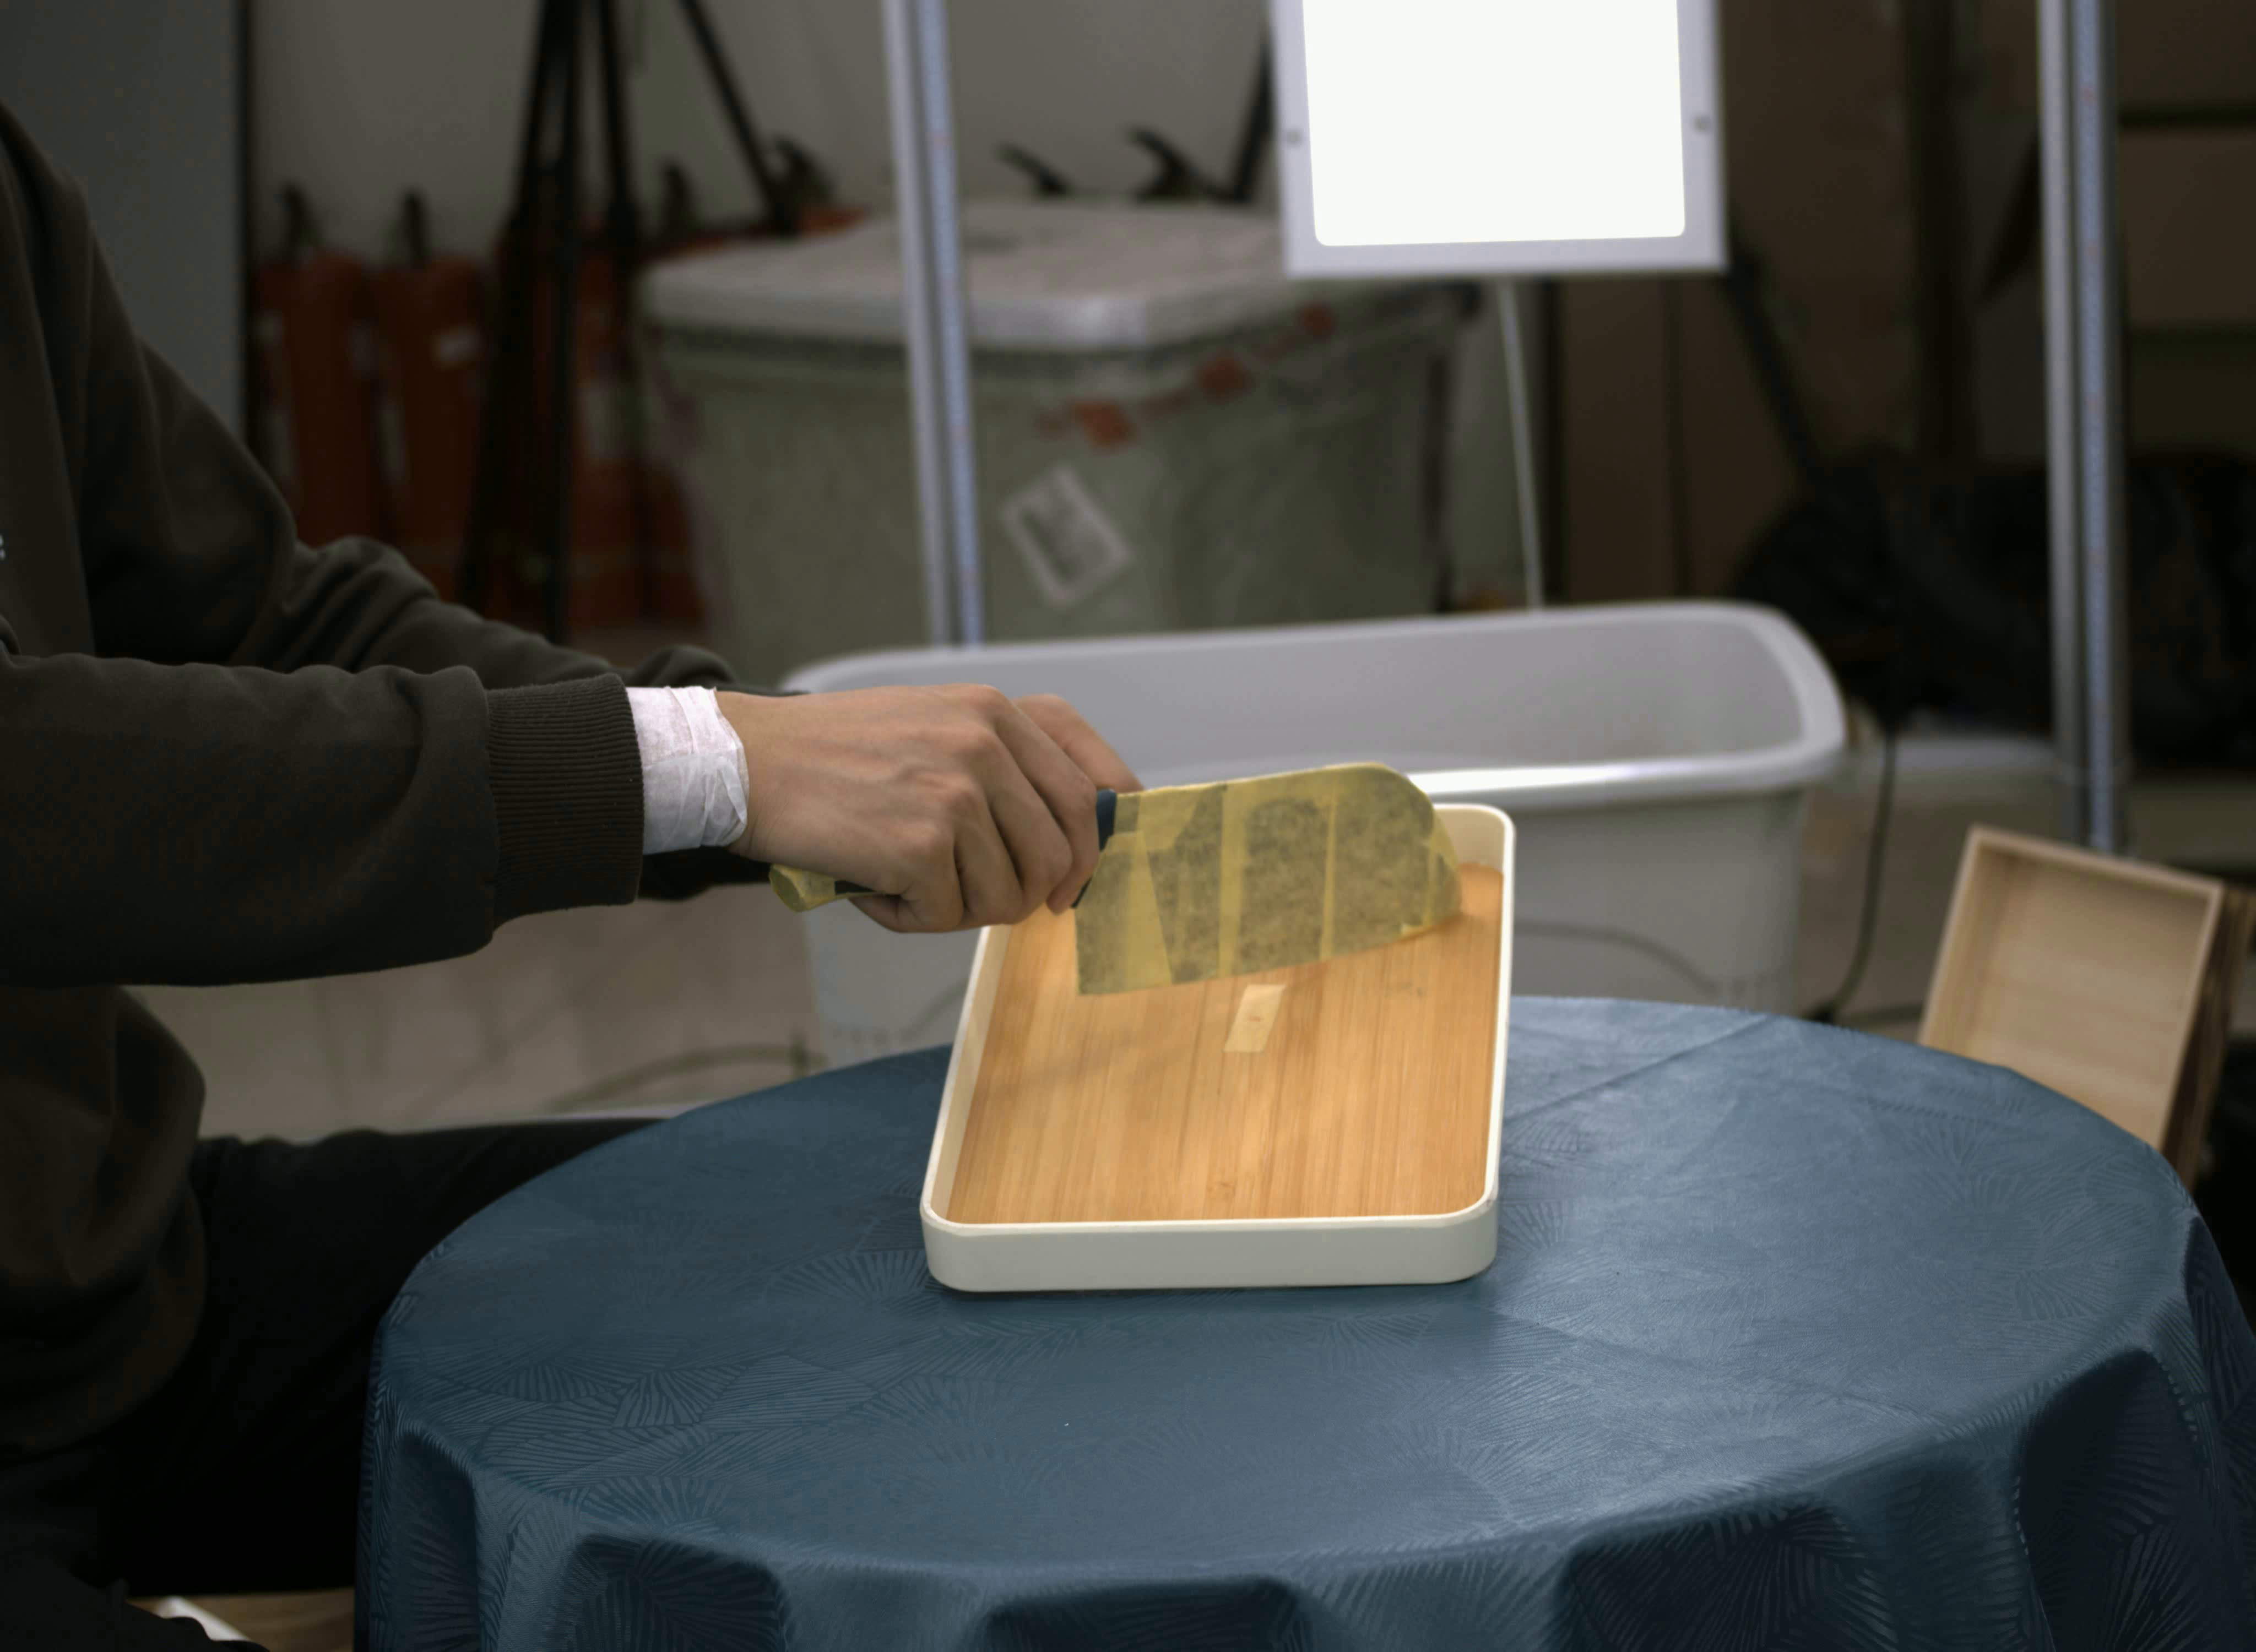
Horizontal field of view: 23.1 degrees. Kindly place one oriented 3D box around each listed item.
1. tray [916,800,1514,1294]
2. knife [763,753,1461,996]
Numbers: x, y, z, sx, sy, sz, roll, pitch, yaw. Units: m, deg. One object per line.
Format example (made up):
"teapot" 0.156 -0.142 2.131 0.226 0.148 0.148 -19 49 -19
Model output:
"tray" 0.037 0.072 1.914 0.192 0.027 0.298 -3 27 8
"knife" 0.001 0.019 1.917 0.283 0.081 0.028 -4 15 -30
